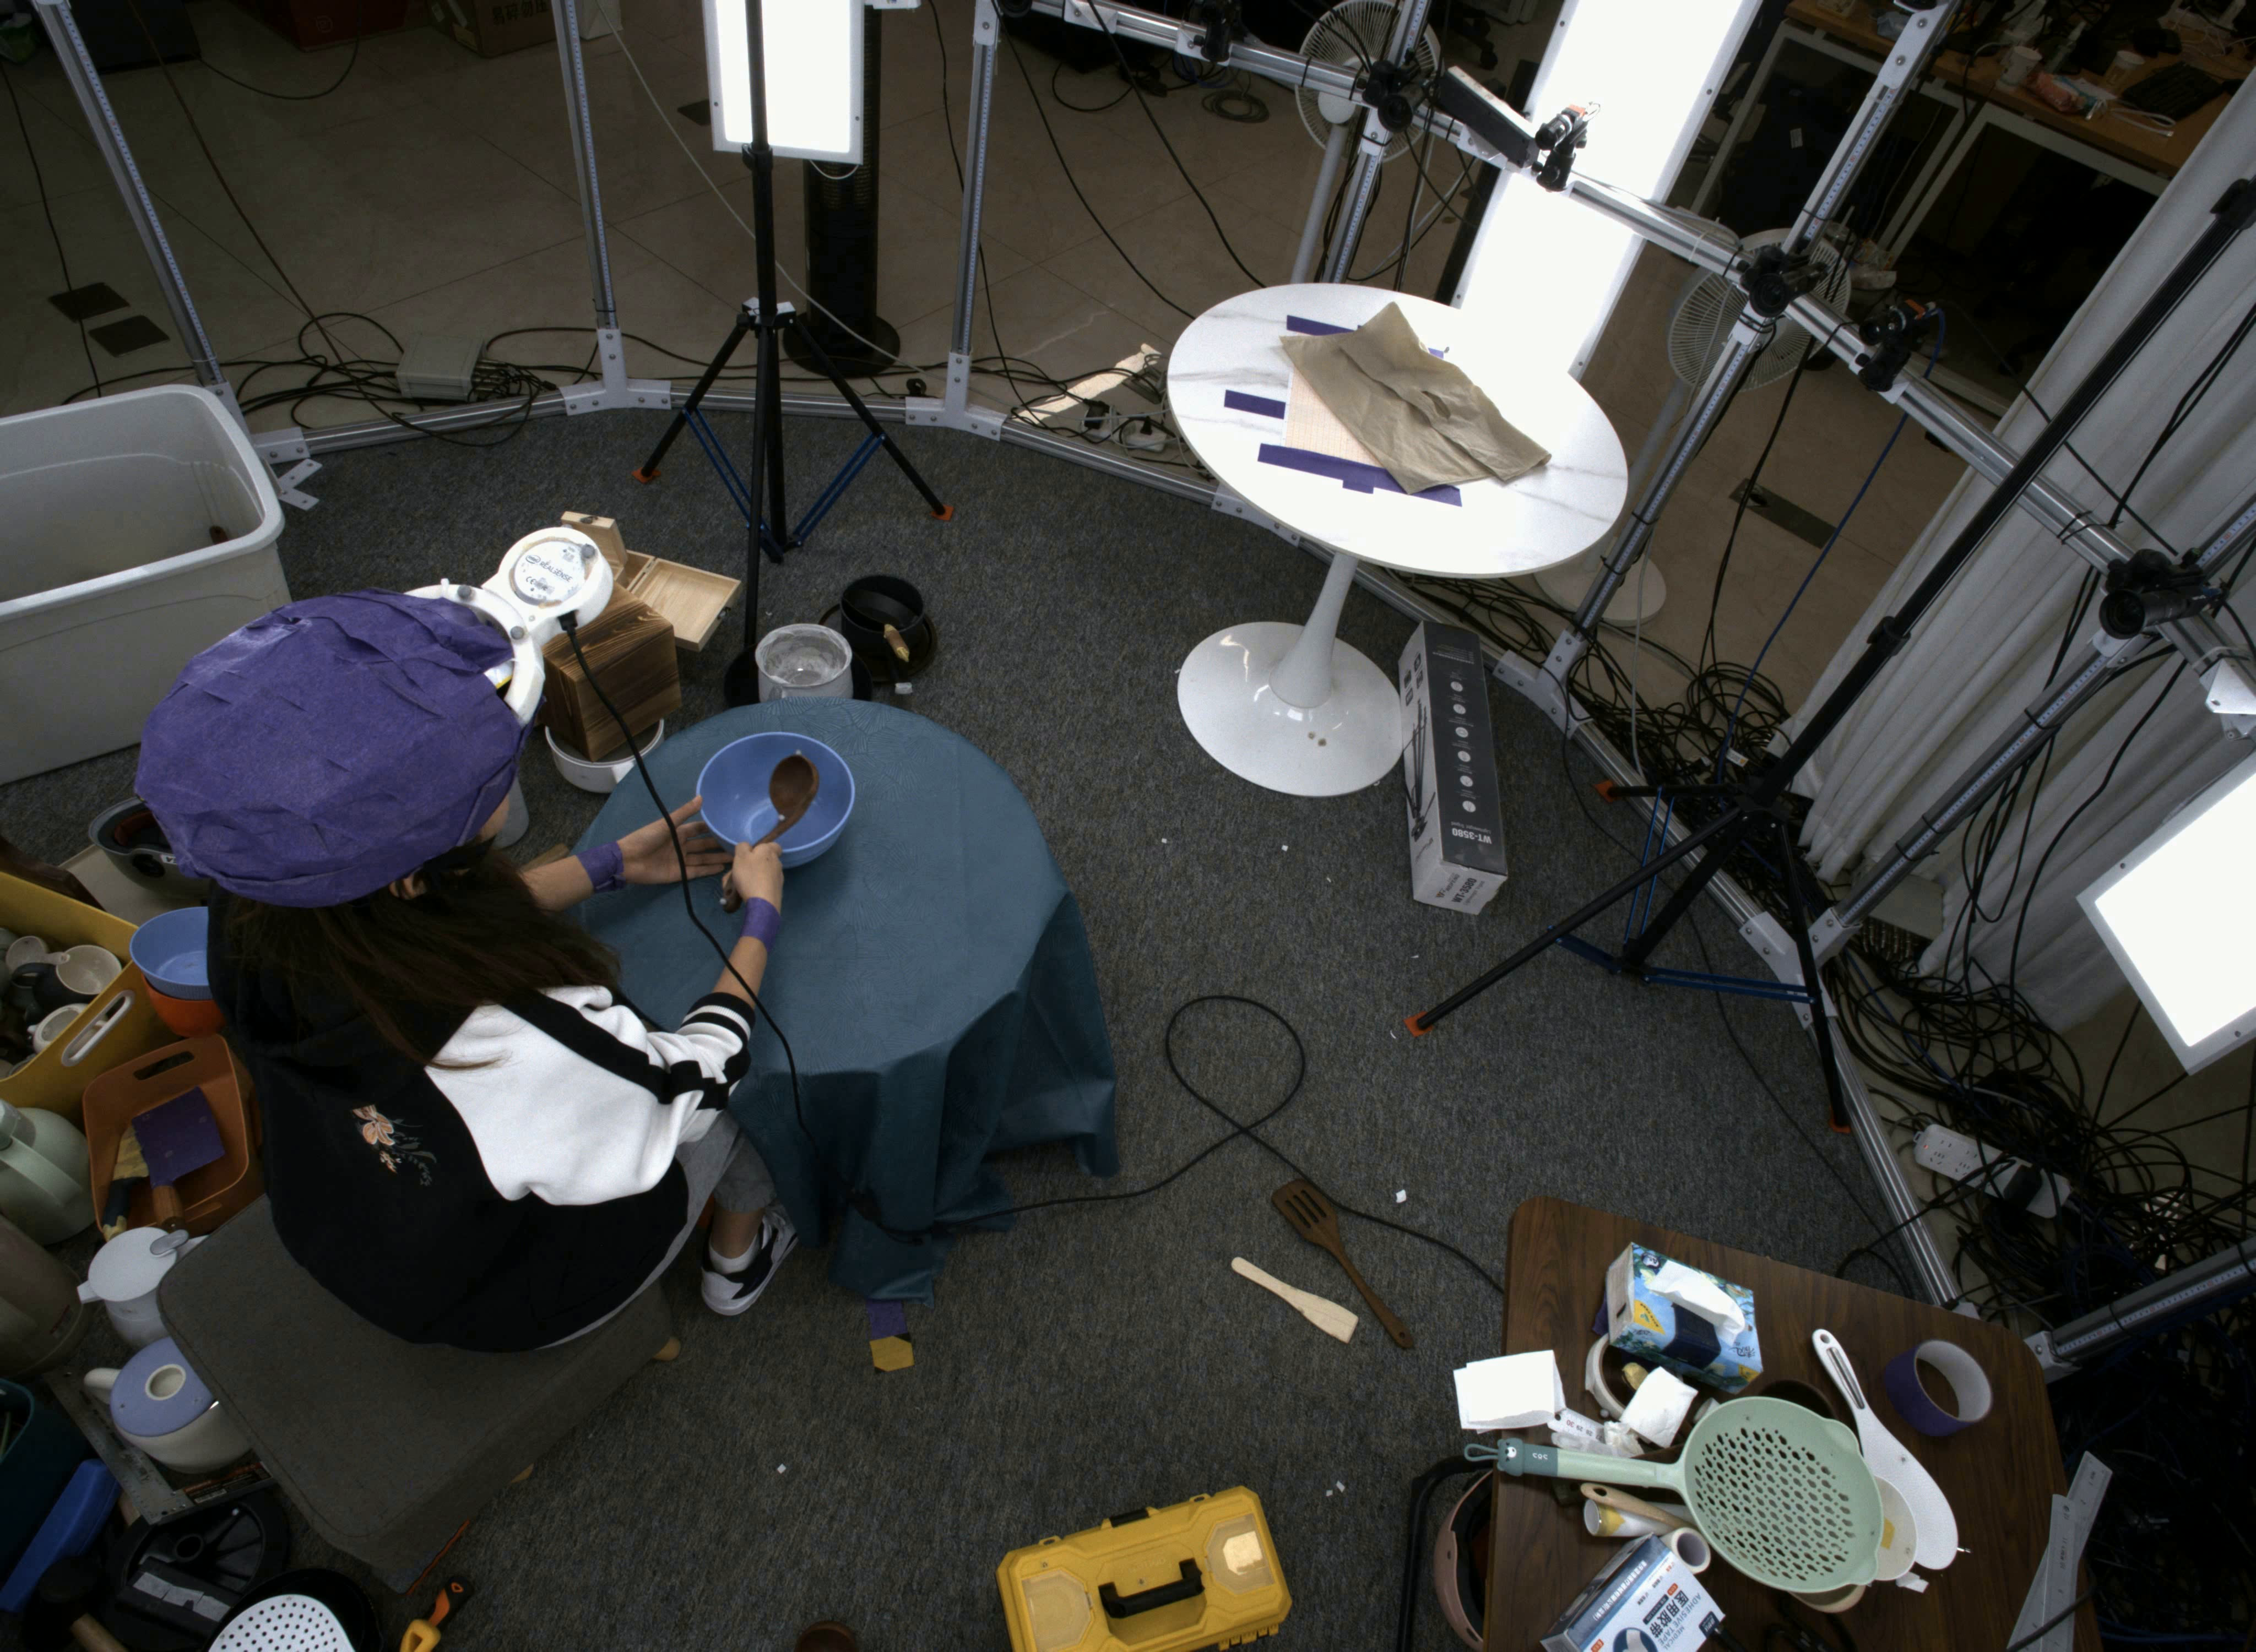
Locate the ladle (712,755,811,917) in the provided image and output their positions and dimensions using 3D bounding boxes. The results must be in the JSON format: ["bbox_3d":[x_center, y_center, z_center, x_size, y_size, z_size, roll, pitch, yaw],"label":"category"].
[{"bbox_3d":[-0.453,0.006,1.559,0.067,0.075,0.257,55,31,-24],"label":"ladle"}]

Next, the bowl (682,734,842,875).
[{"bbox_3d":[-0.470,-0.014,1.656,0.197,0.097,0.193,12,51,-13],"label":"bowl"}]
